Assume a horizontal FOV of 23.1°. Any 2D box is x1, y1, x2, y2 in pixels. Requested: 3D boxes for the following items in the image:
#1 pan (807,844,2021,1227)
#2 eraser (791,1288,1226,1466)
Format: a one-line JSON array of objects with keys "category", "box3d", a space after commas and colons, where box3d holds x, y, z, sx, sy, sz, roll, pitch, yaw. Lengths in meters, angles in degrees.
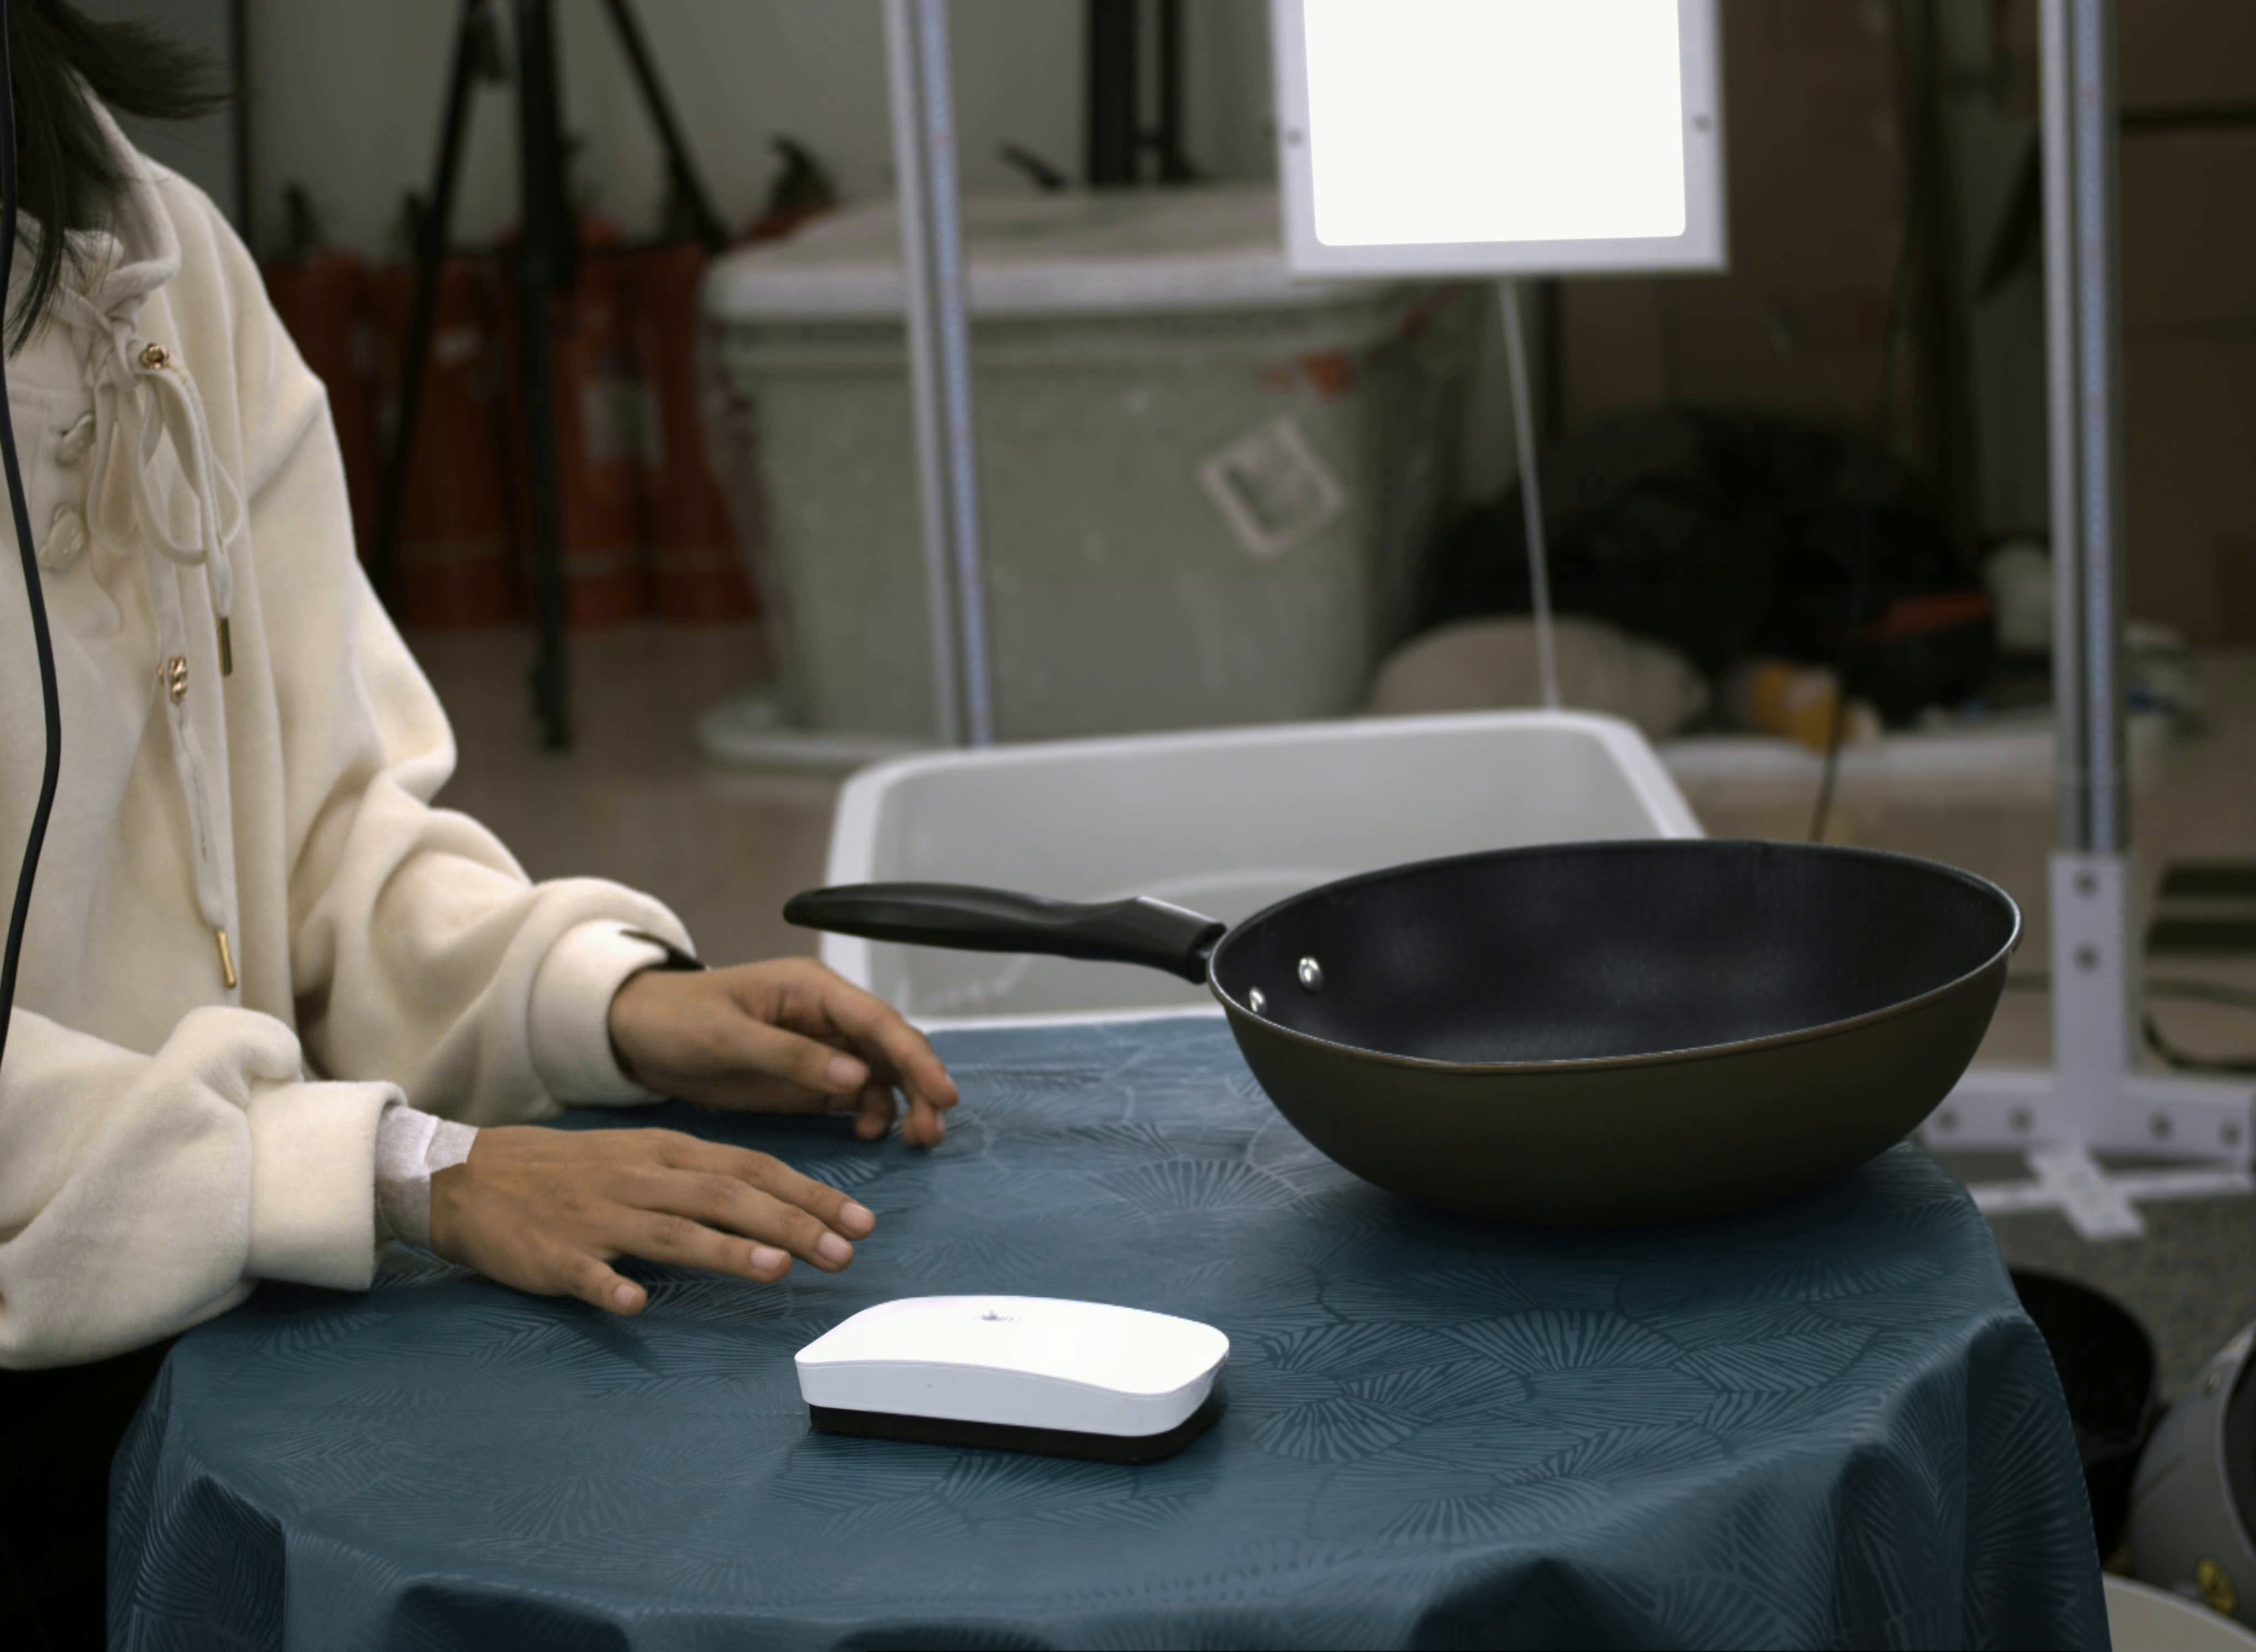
[{"category": "pan", "box3d": [0.088, 0.072, 1.916, 0.472, 0.087, 0.282, 2, 15, 30]}, {"category": "eraser", "box3d": [-0.036, 0.167, 1.682, 0.133, 0.034, 0.062, 3, 13, 28]}]
